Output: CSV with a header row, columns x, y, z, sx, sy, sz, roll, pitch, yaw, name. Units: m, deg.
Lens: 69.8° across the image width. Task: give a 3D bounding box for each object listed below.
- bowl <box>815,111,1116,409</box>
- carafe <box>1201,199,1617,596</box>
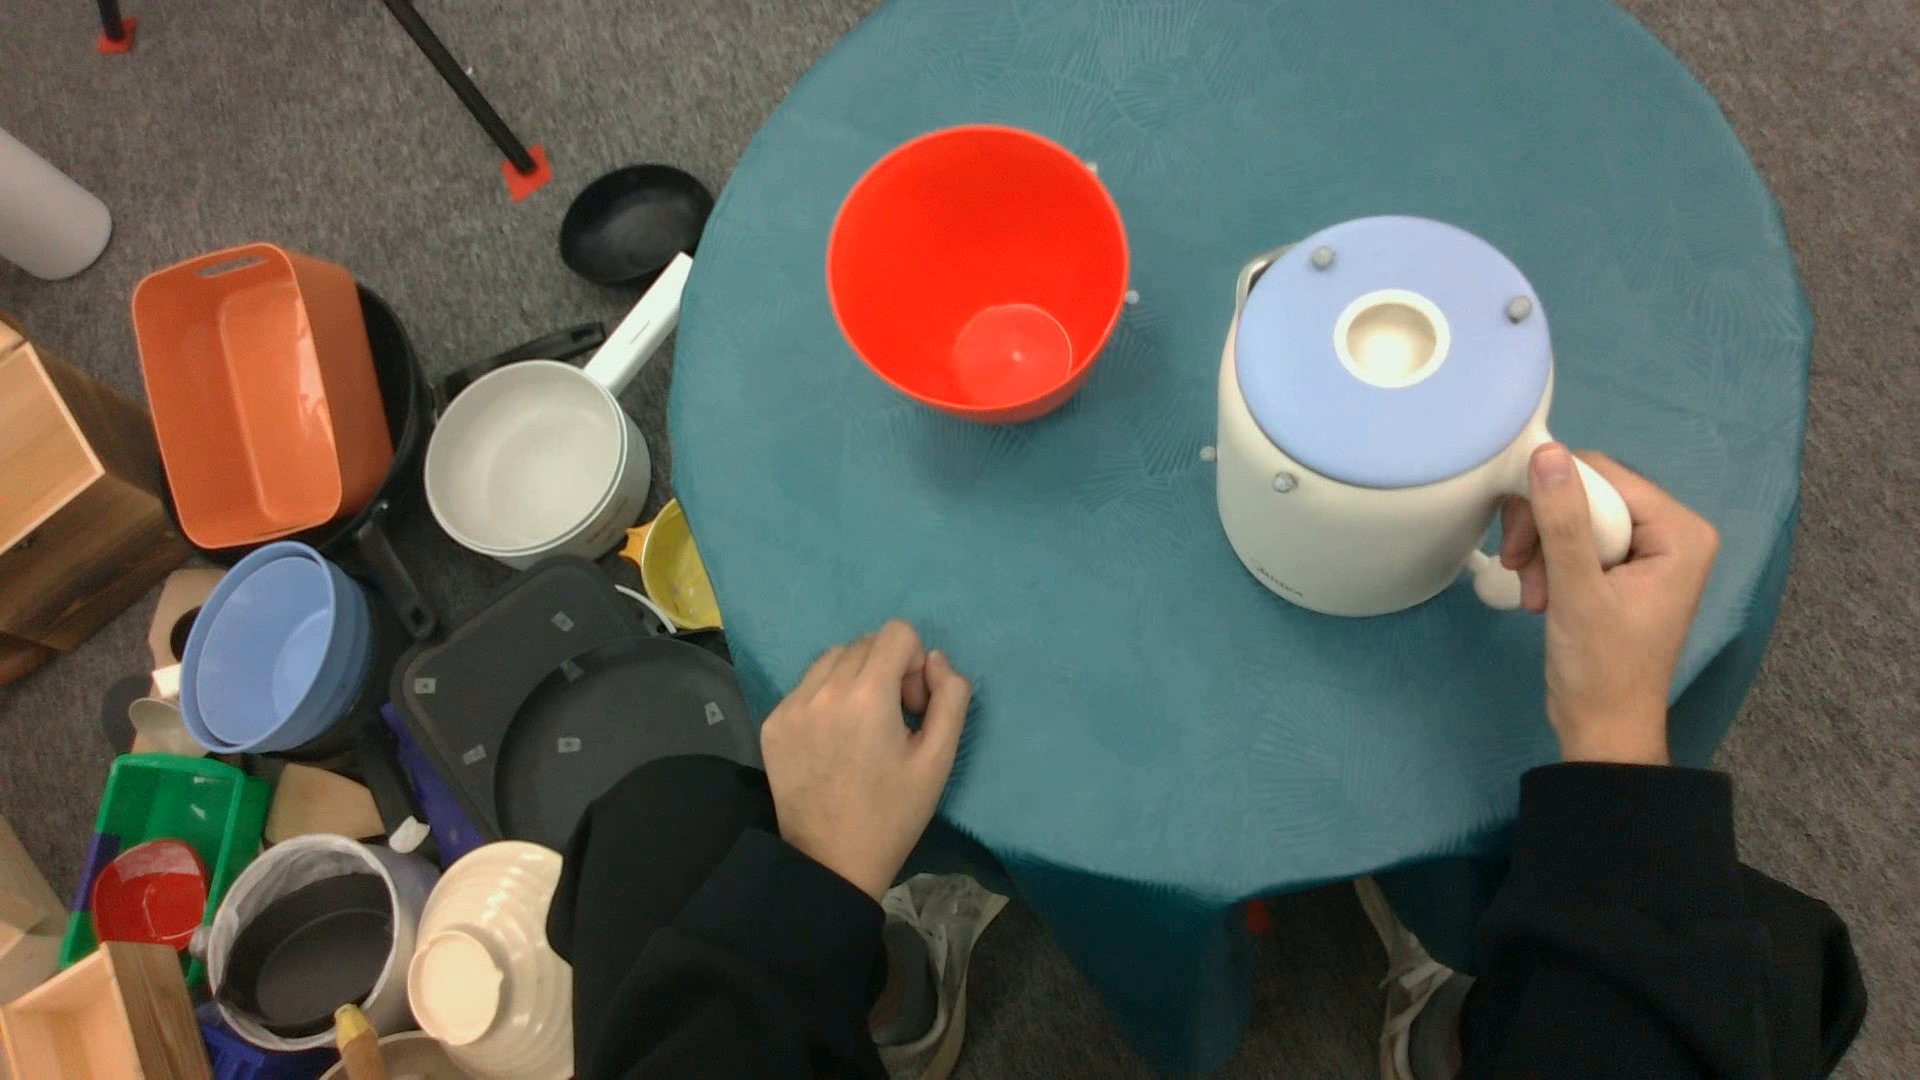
x,y,z,sx,sy,sz,roll,pitch,yaw,name
0.009,-0.130,0.711,0.148,0.104,0.148,-3,70,9,bowl
0.195,-0.044,0.613,0.191,0.182,0.132,35,81,16,carafe
